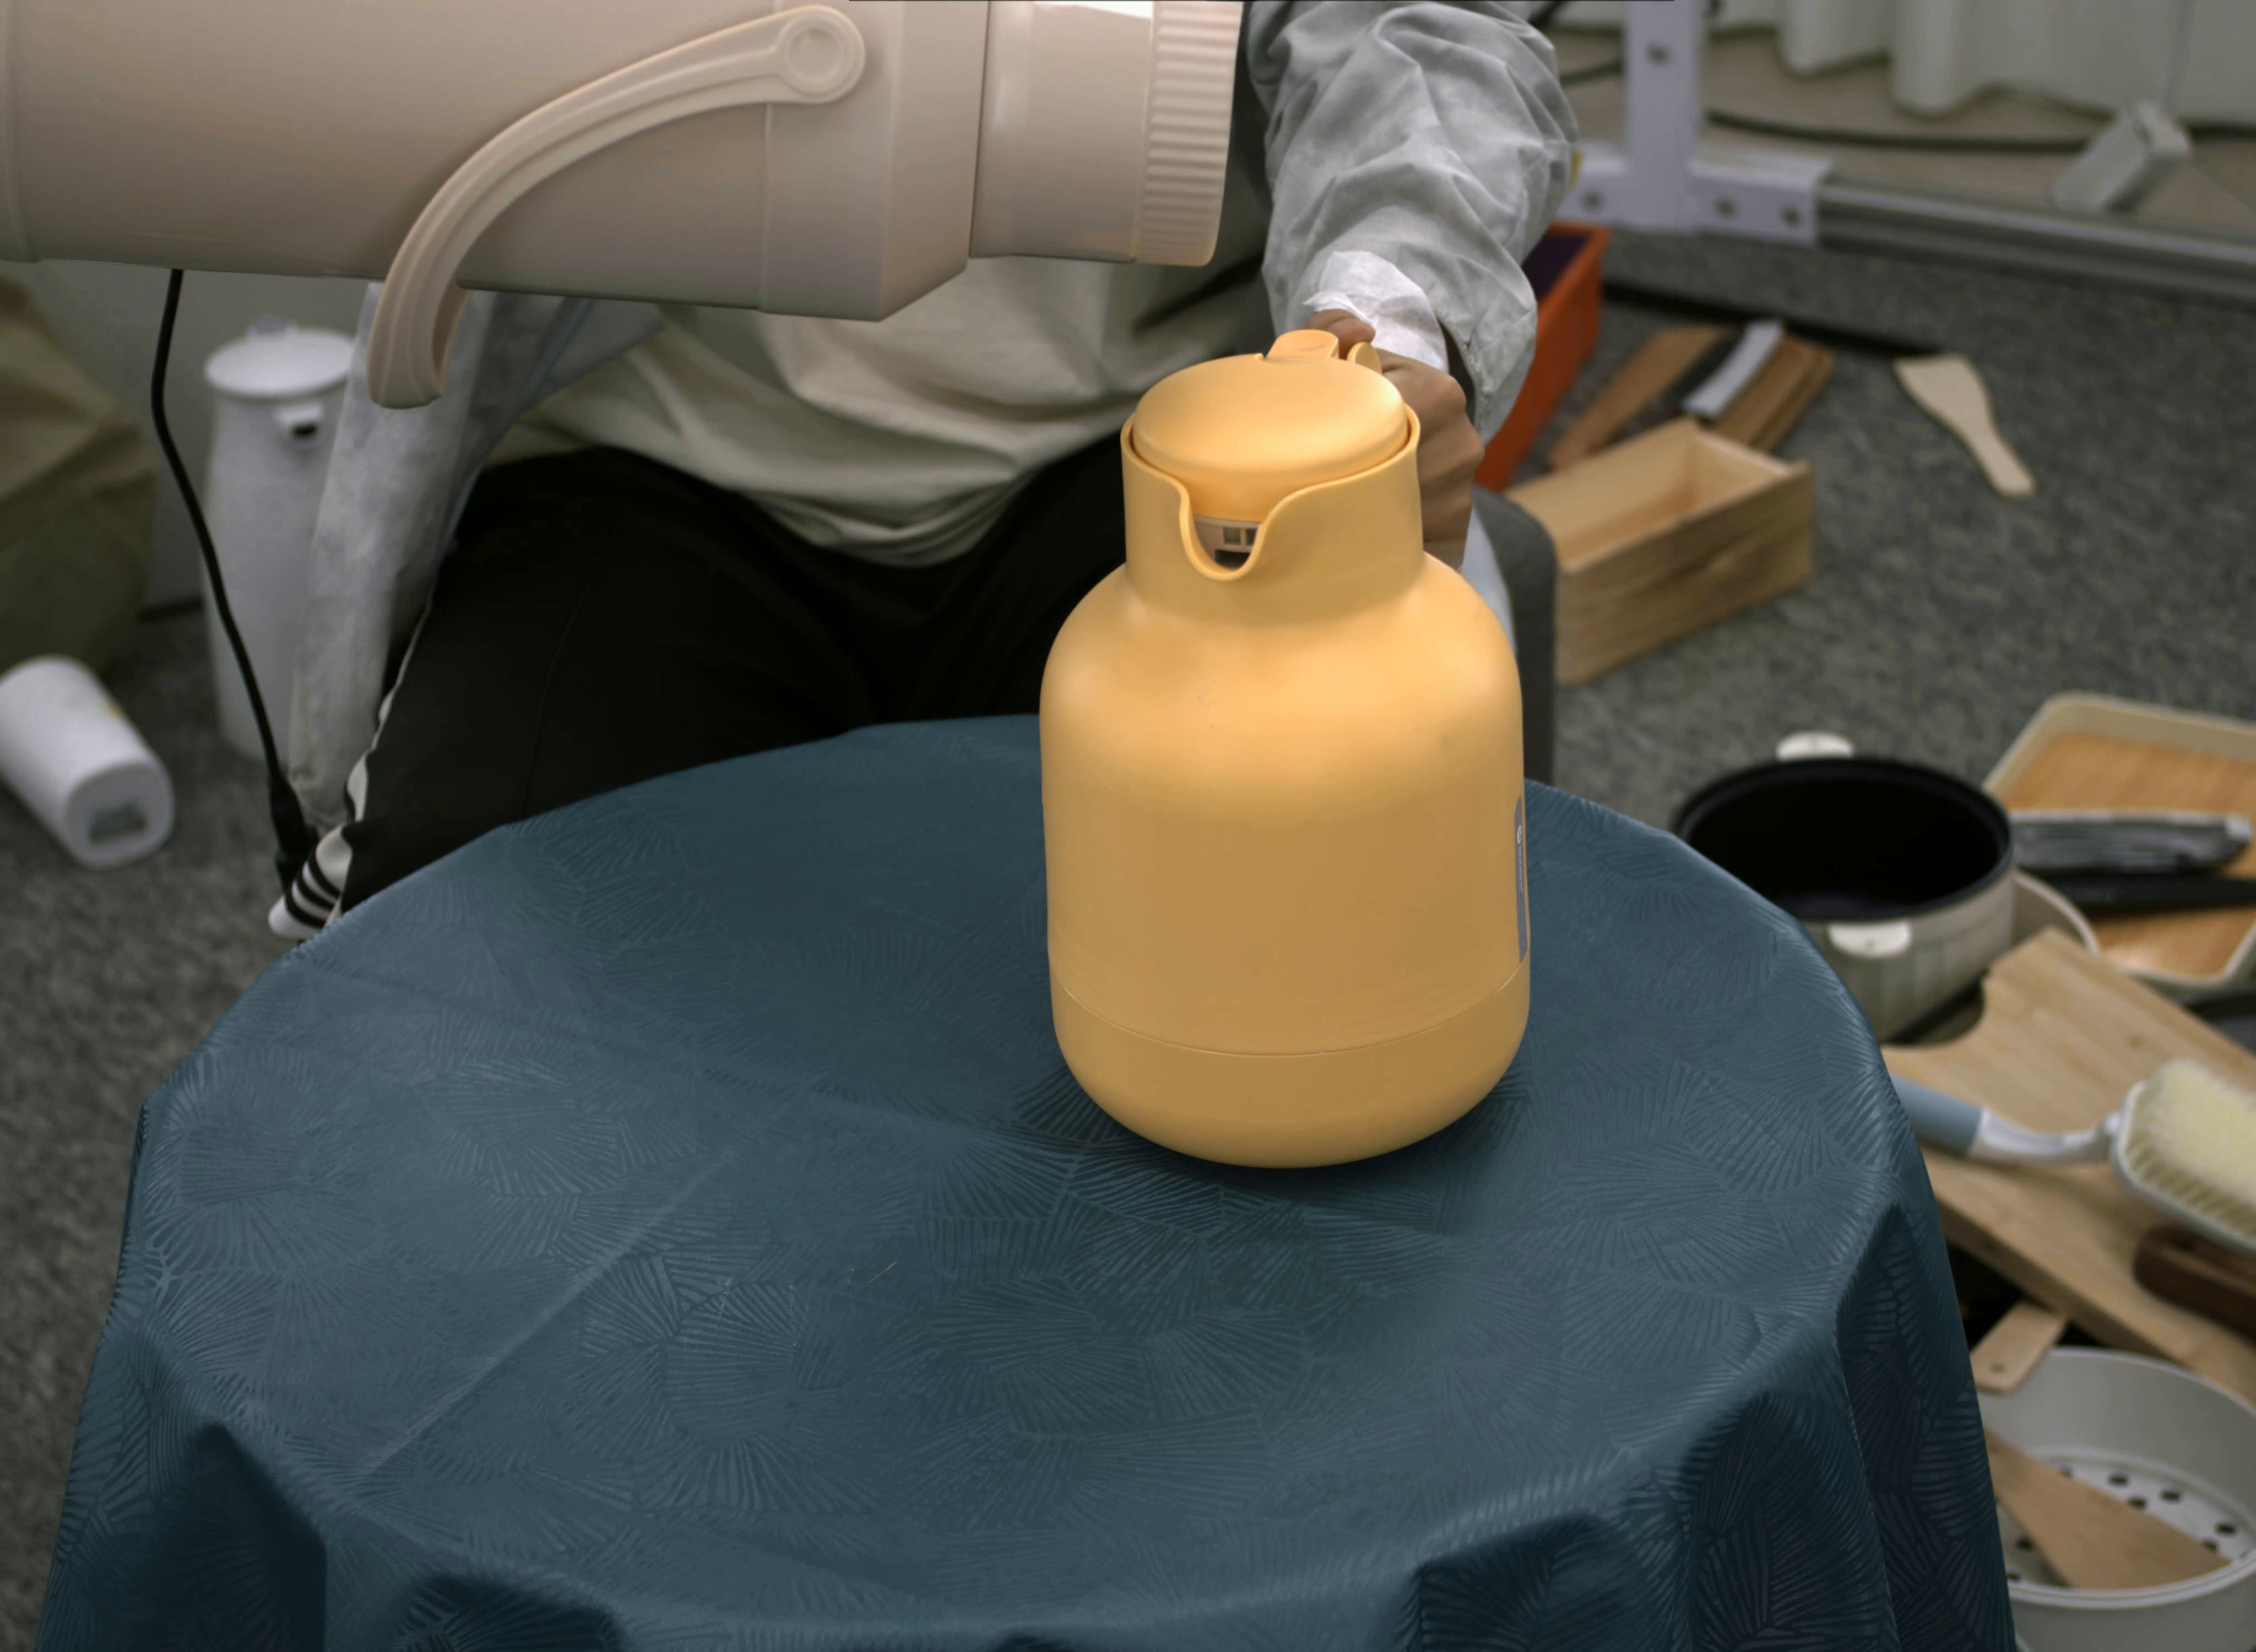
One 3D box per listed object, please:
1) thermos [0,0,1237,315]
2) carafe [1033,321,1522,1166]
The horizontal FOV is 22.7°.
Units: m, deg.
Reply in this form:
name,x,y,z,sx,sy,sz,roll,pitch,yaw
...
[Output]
name,x,y,z,sx,sy,sz,roll,pitch,yaw
thermos,-0.169,-0.259,1.768,0.404,0.207,0.175,4,4,-1
carafe,0.055,-0.037,1.880,0.162,0.257,0.206,7,29,14
